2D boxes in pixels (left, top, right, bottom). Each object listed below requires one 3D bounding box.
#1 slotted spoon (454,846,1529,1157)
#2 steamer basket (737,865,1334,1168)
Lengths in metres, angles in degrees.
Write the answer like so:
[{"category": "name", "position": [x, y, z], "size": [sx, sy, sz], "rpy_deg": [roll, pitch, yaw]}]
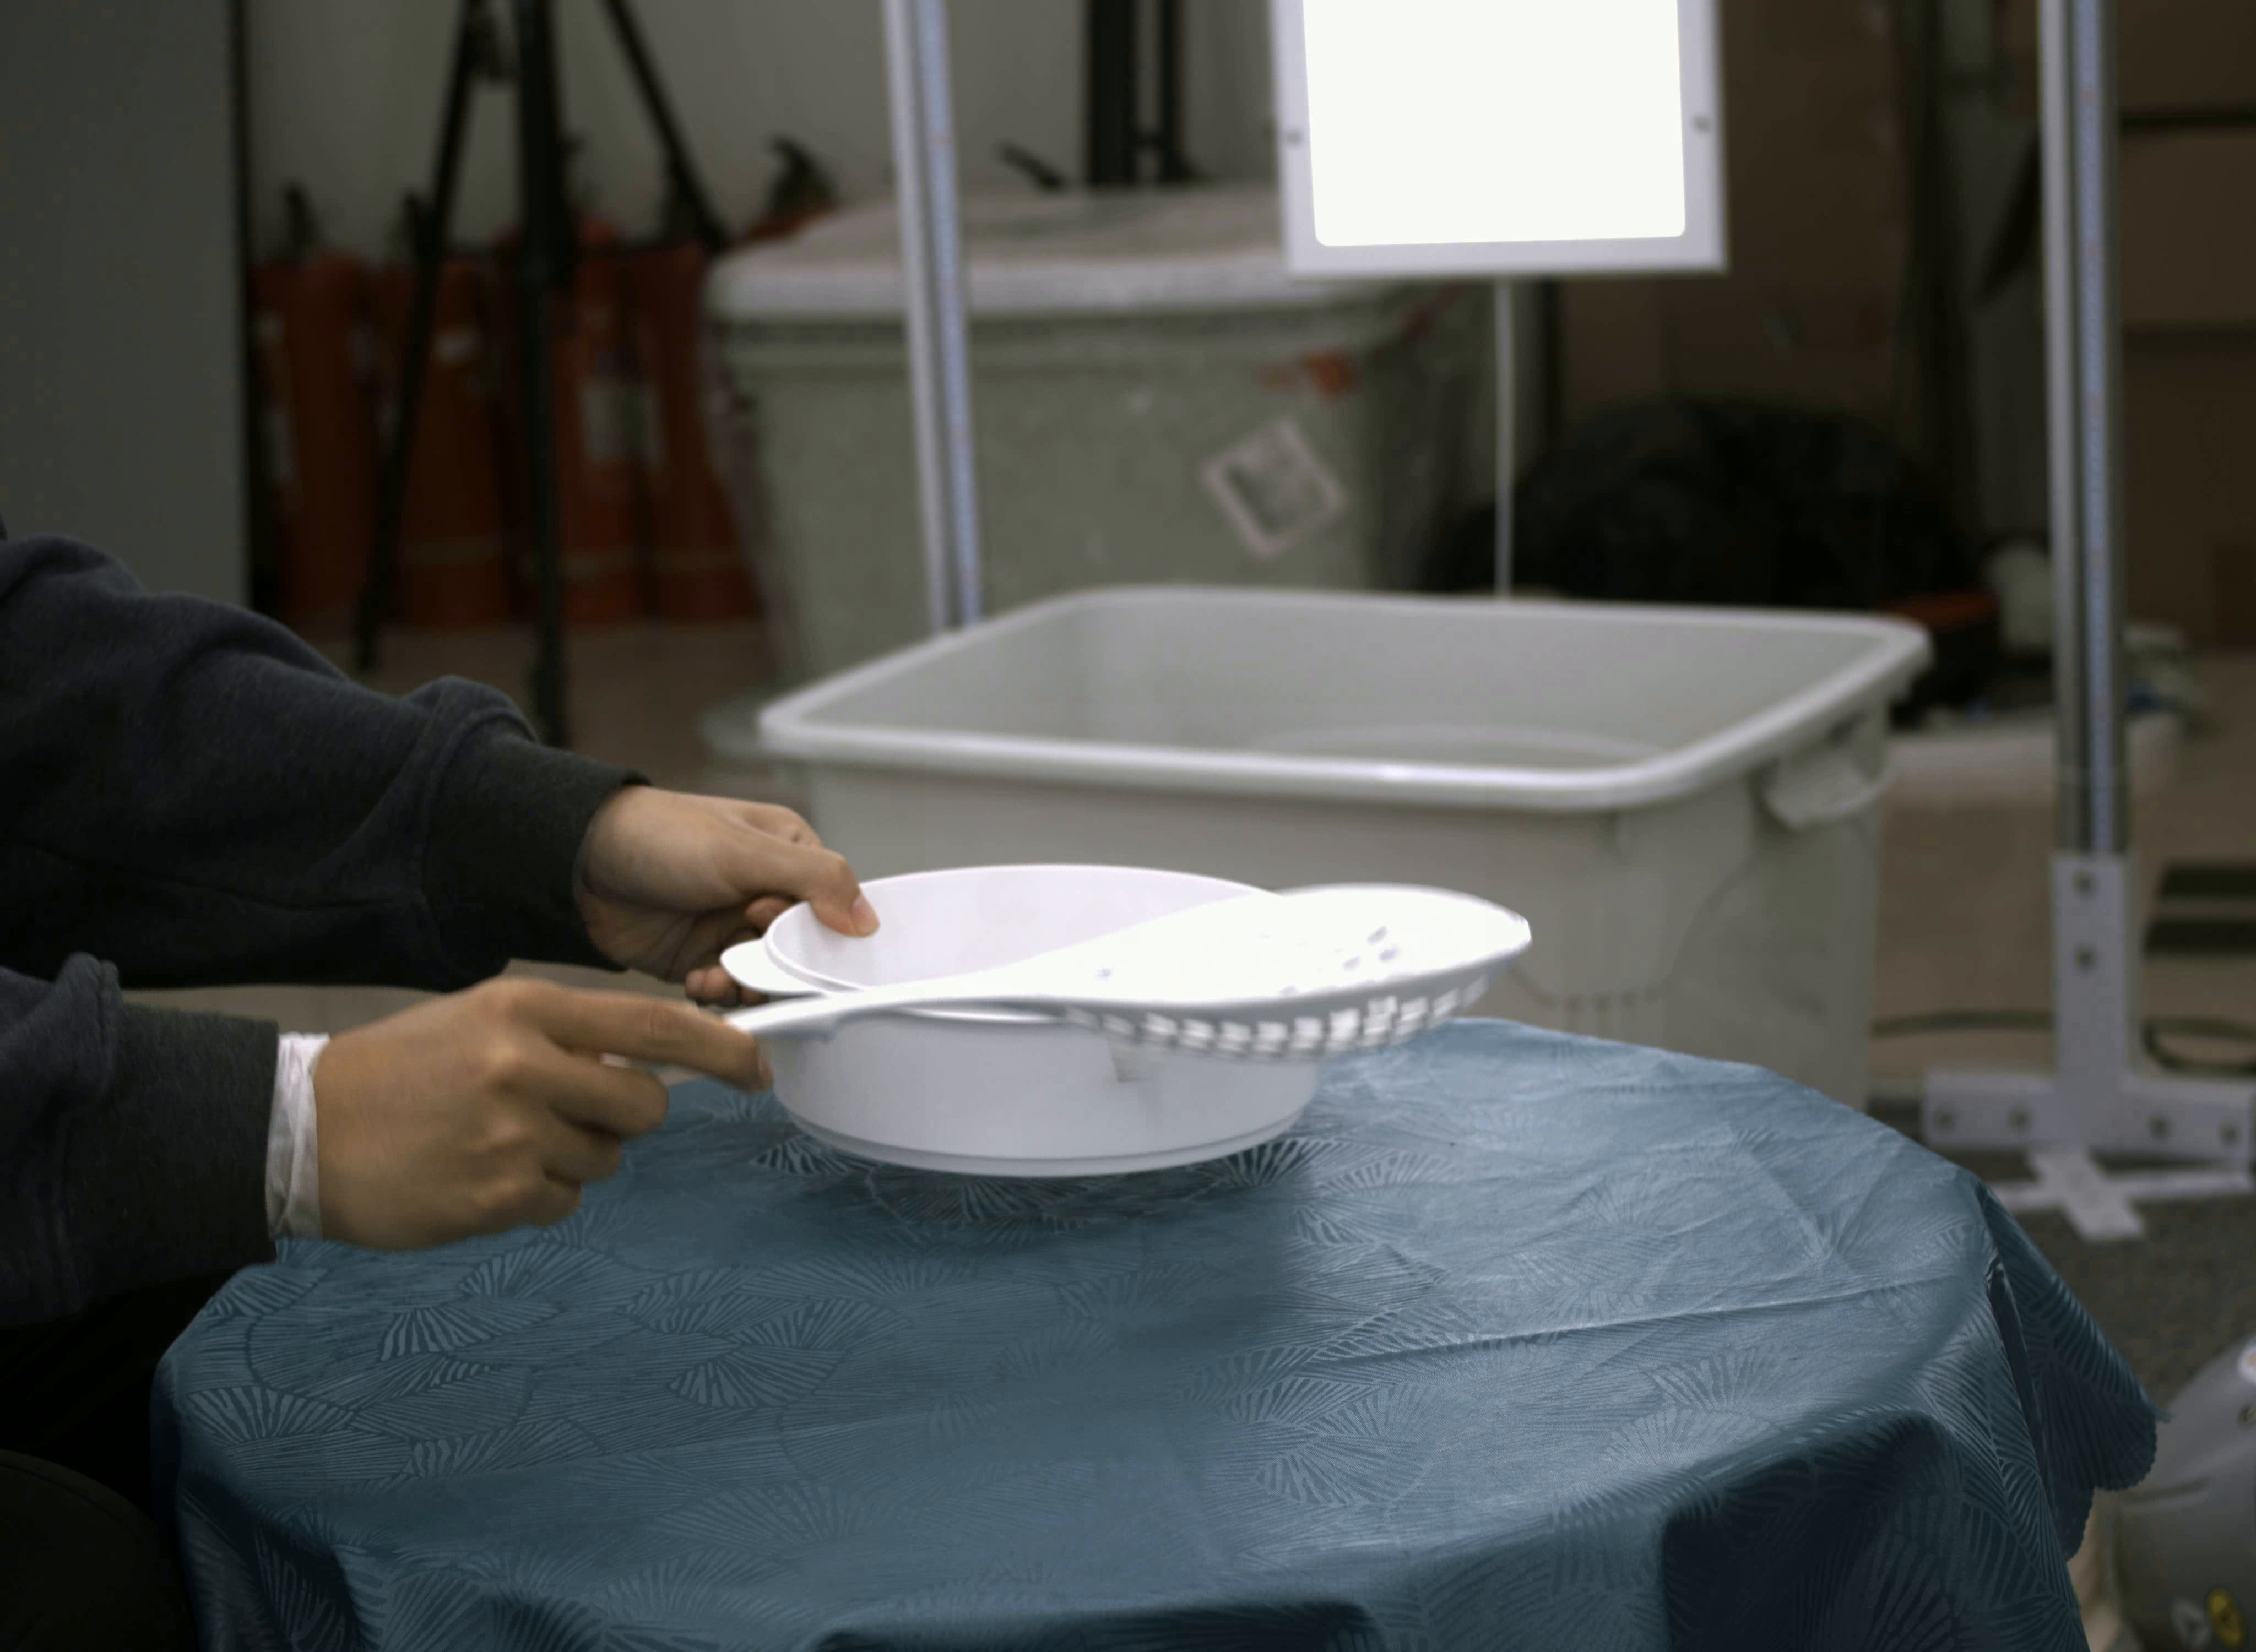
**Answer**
[{"category": "slotted spoon", "position": [-0.042, 0.057, 1.717], "size": [0.342, 0.050, 0.138], "rpy_deg": [-6, 13, -16]}, {"category": "steamer basket", "position": [-0.024, 0.067, 1.940], "size": [0.227, 0.069, 0.204], "rpy_deg": [-2, 13, -17]}]
